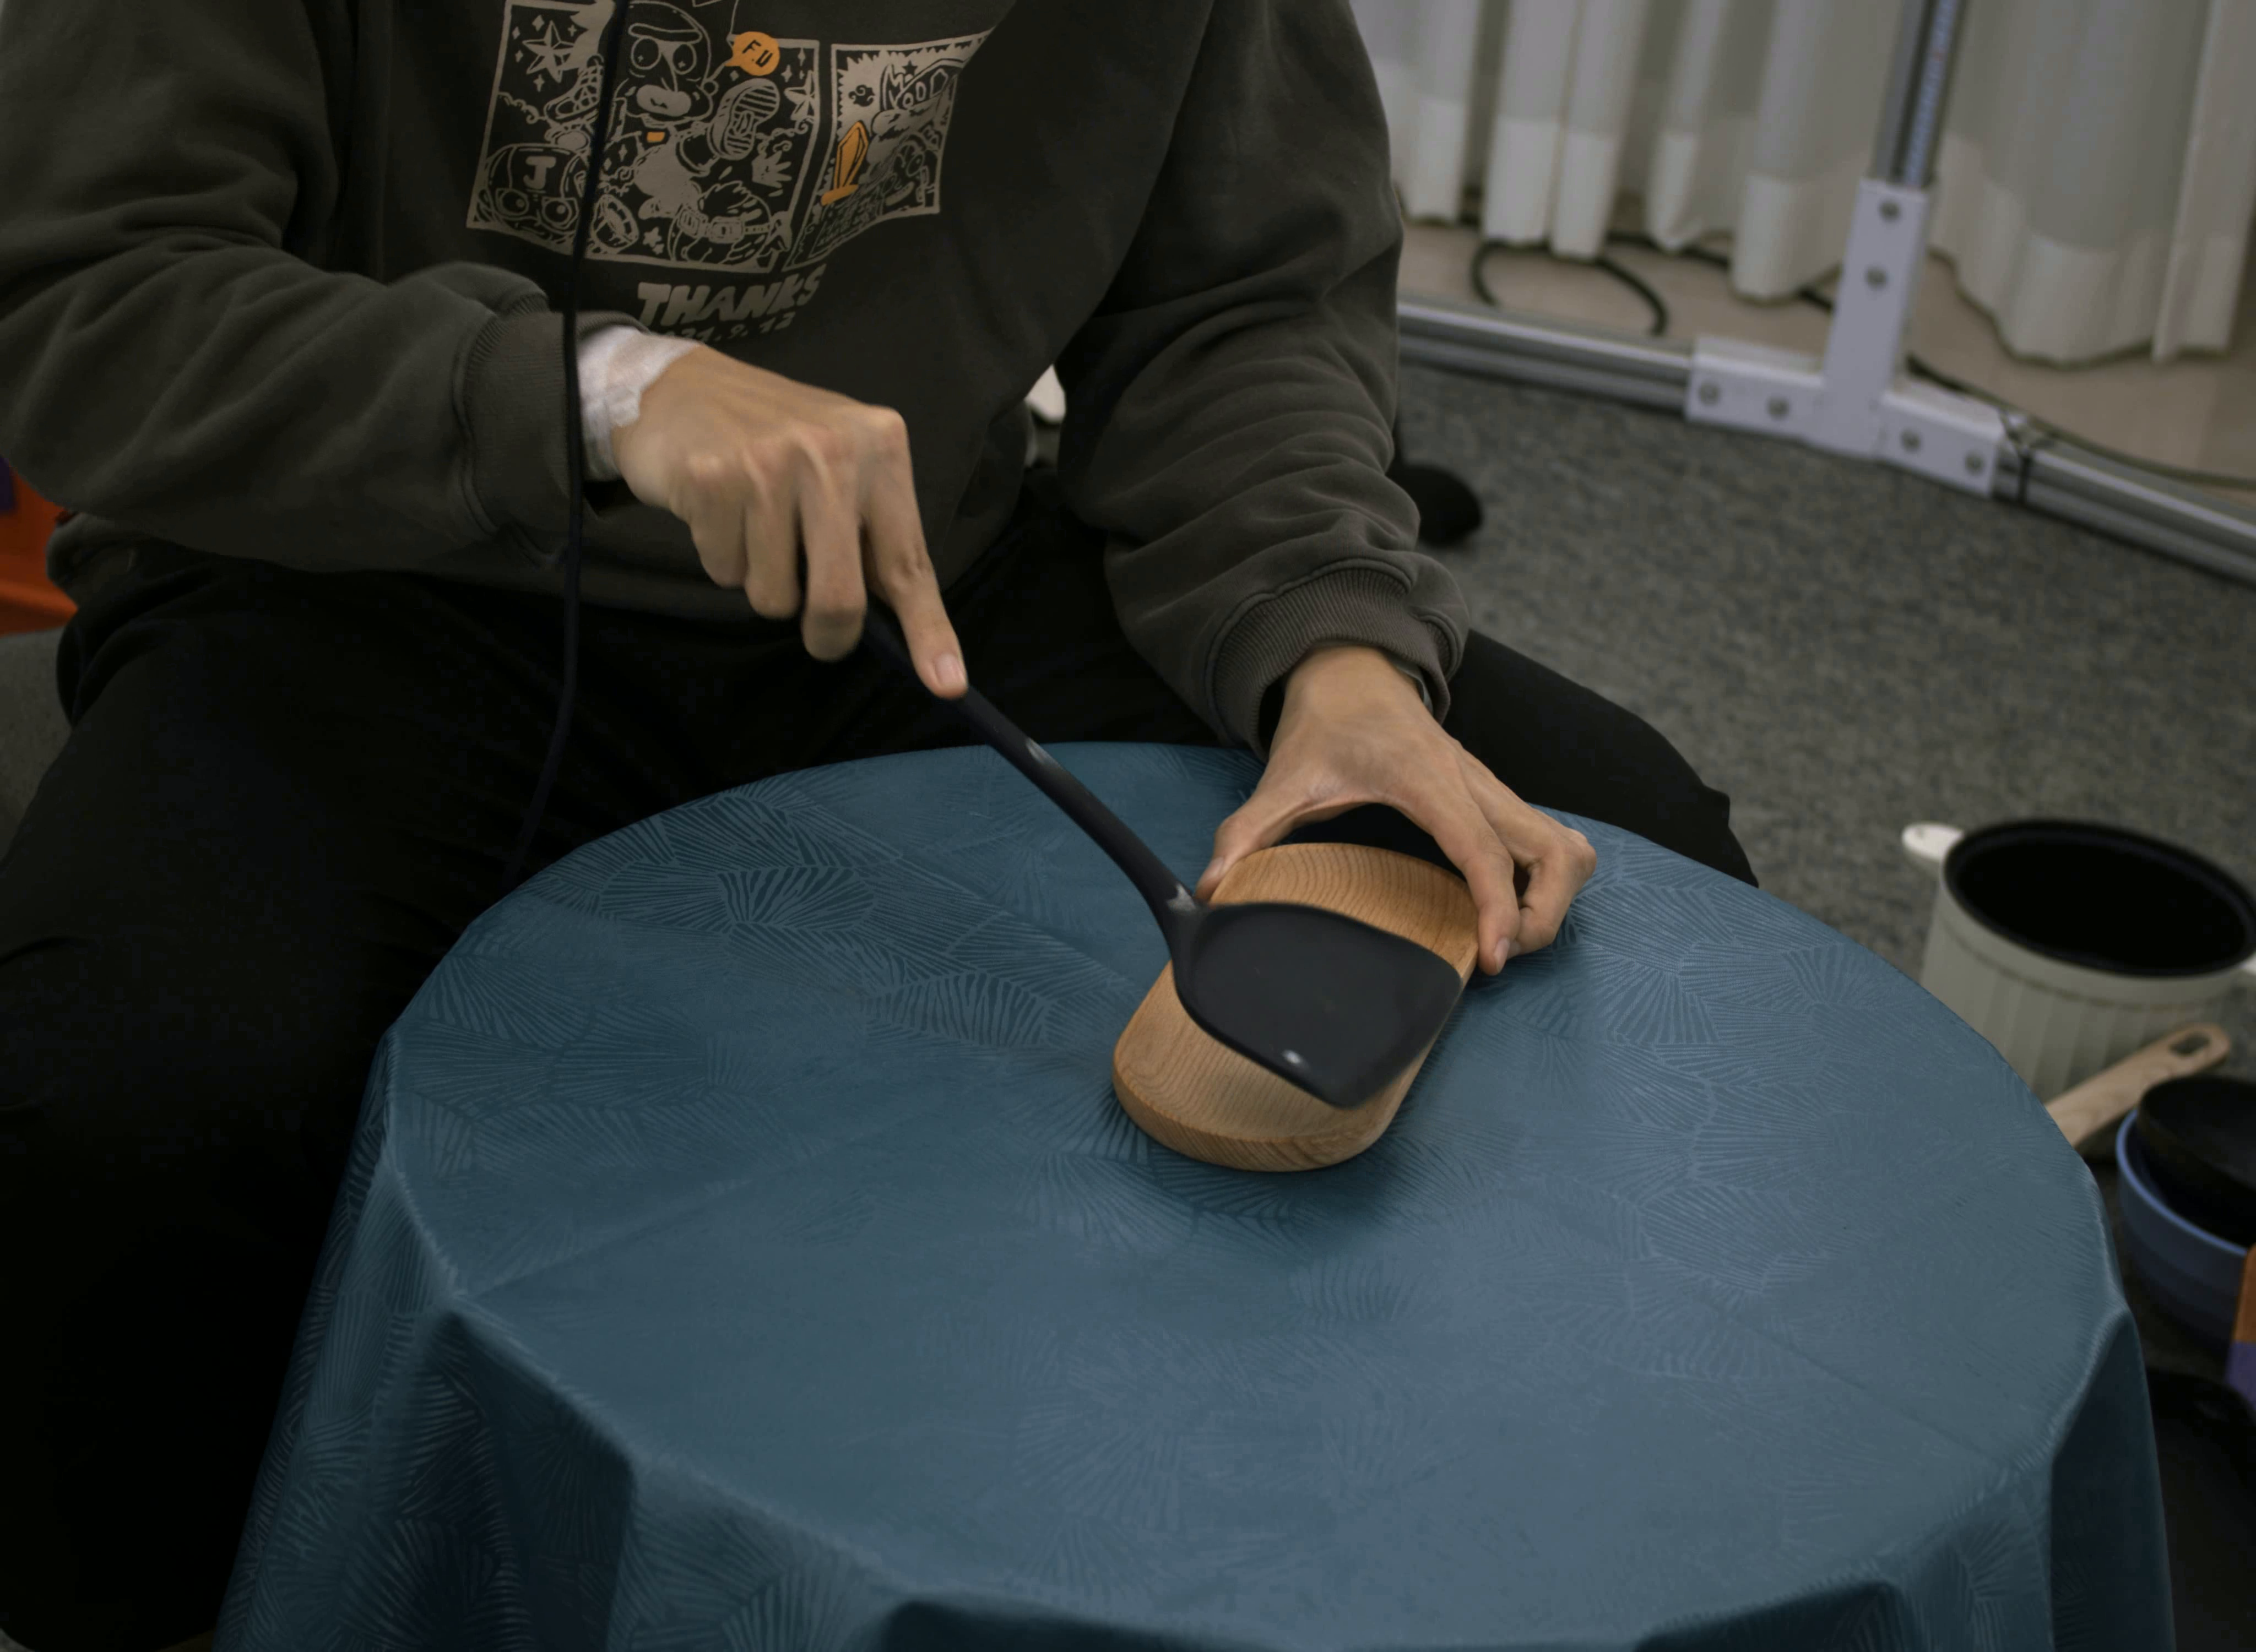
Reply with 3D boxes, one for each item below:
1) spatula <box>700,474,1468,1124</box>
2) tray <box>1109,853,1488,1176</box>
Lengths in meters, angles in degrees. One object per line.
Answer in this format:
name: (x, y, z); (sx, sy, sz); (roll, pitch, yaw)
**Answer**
spatula: (-0.024, -0.018, 1.844); (0.326, 0.040, 0.099); (44, 40, 4)
tray: (0.063, 0.066, 1.915); (0.102, 0.020, 0.231); (12, 28, 14)
